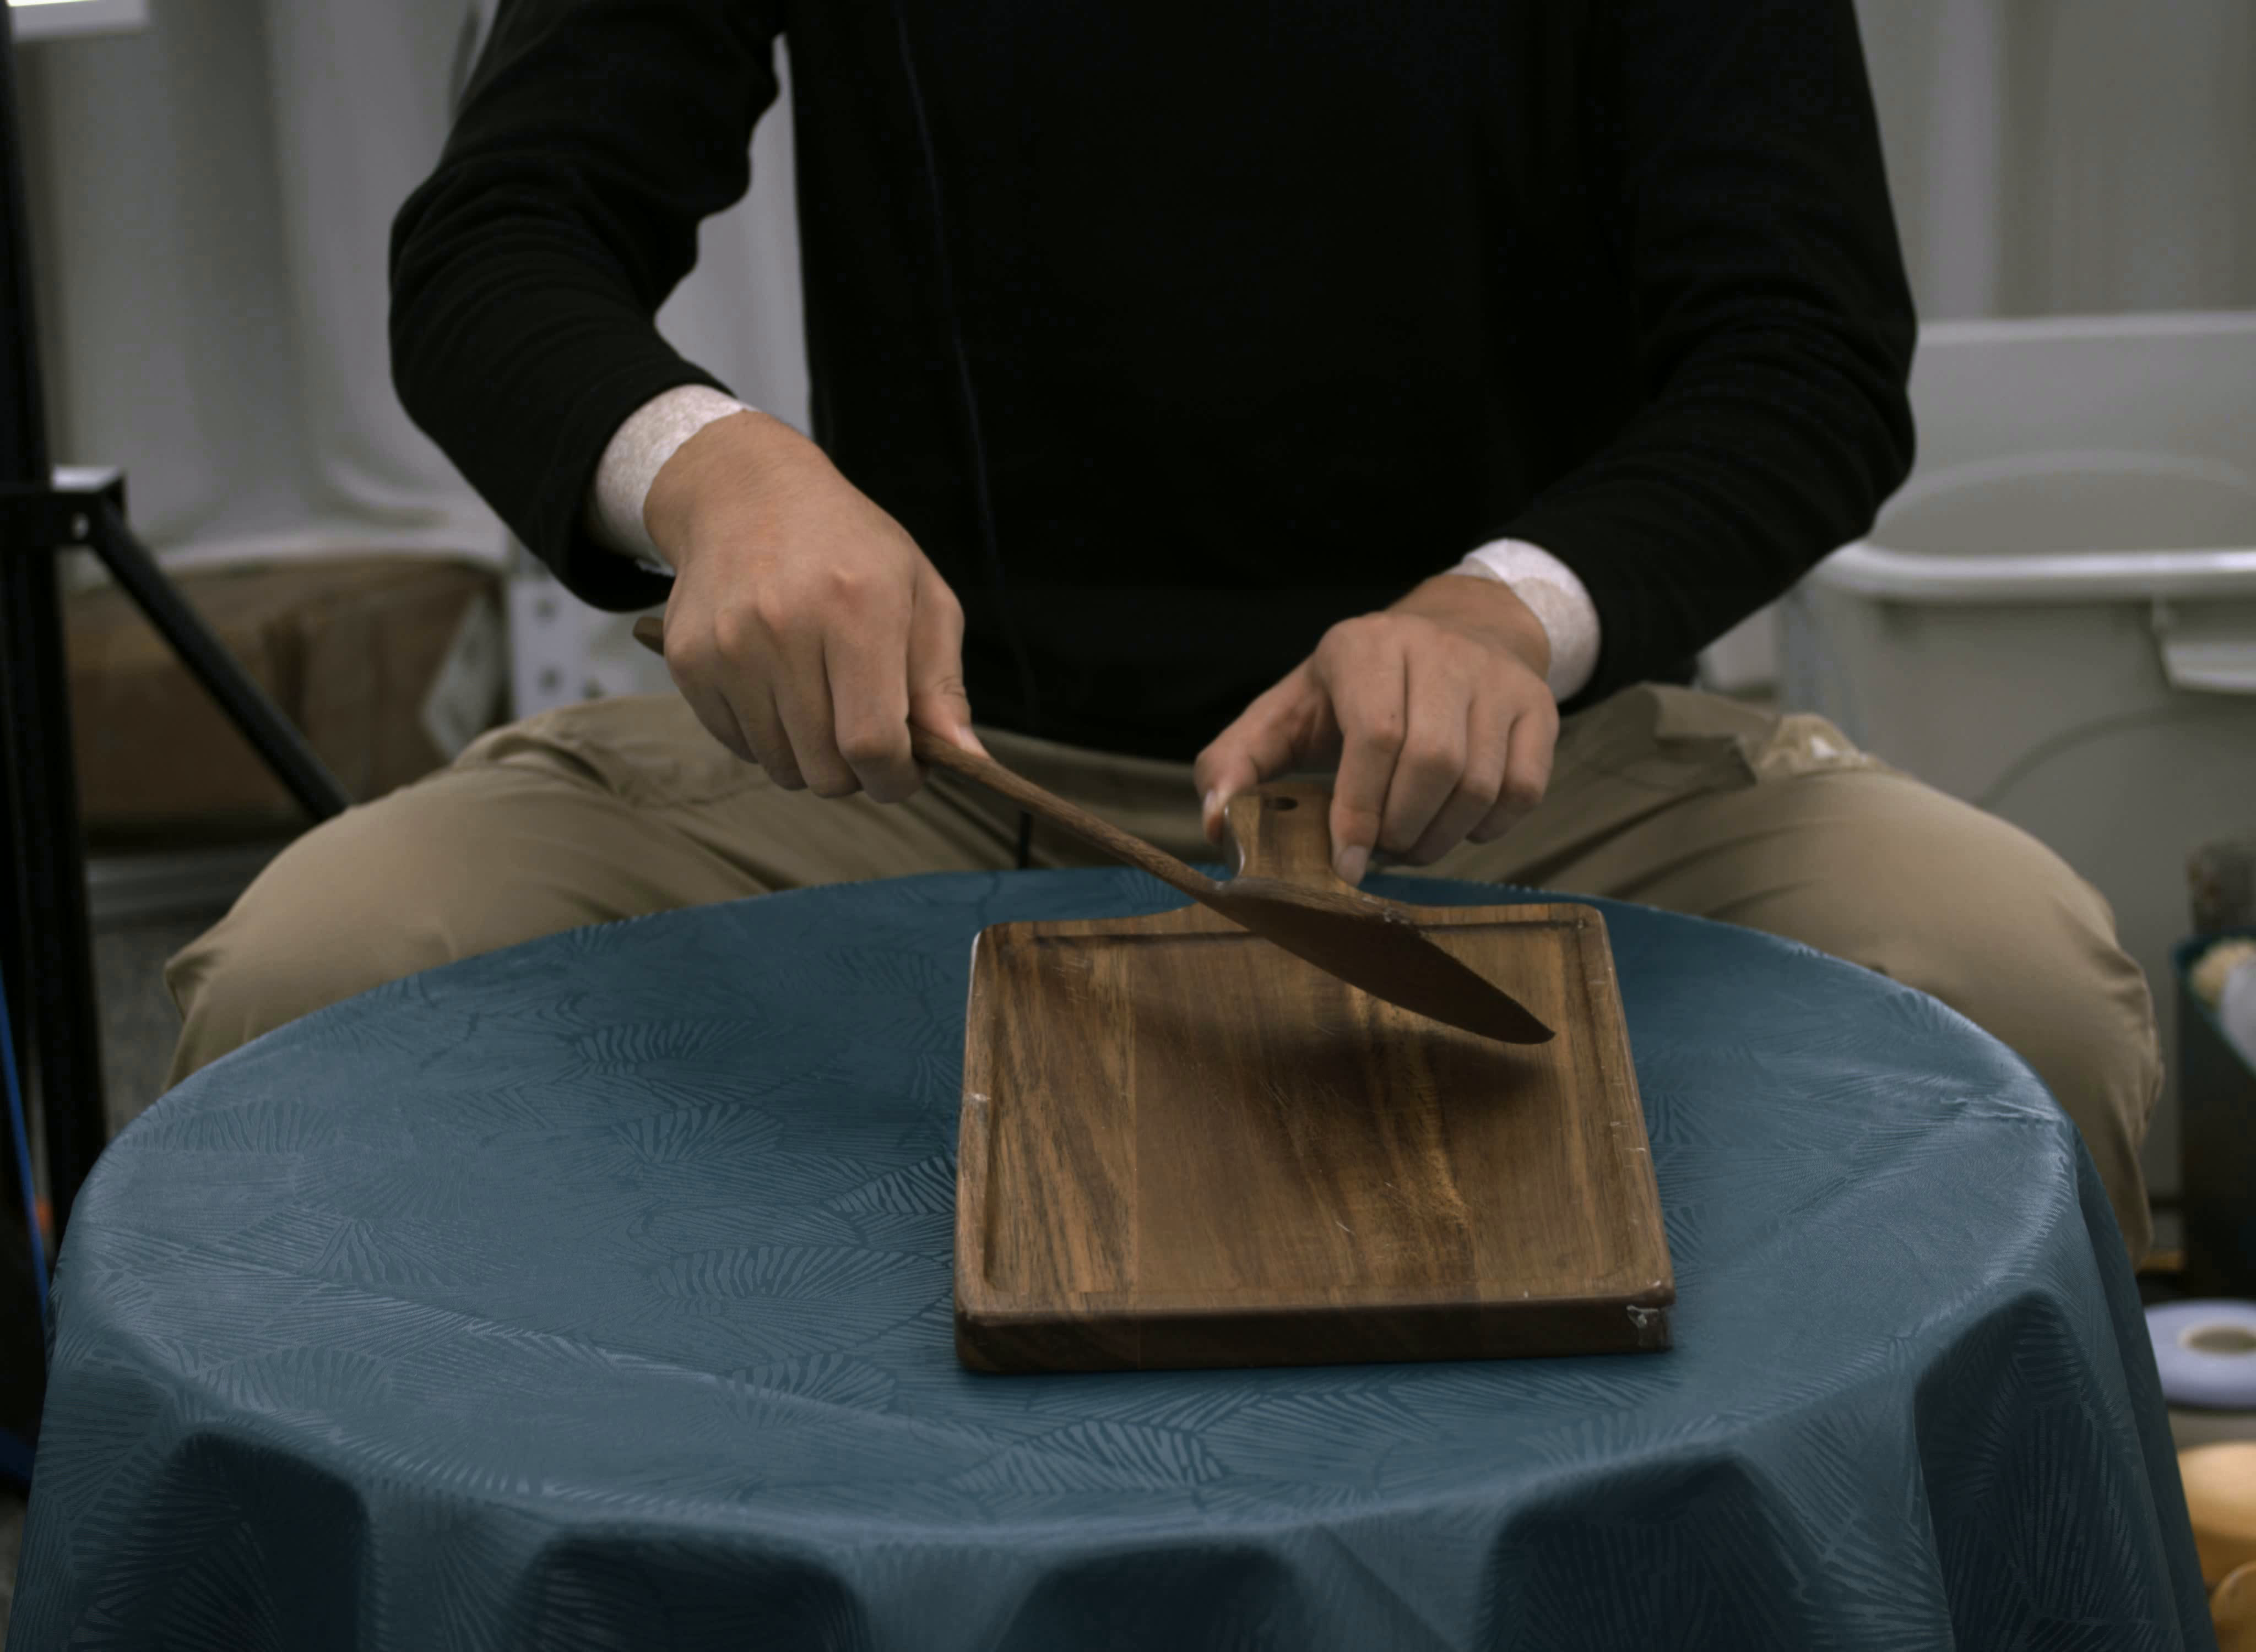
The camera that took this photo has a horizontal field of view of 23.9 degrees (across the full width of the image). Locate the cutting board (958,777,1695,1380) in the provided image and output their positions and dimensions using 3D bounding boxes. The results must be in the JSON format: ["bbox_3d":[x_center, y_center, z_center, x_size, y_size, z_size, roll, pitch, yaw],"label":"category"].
[{"bbox_3d":[0.050,0.065,1.572,0.200,0.023,0.354,-3,24,1],"label":"cutting board"}]

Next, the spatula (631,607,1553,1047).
[{"bbox_3d":[-0.026,-0.008,1.628,0.395,0.016,0.094,25,-9,42],"label":"spatula"}]
